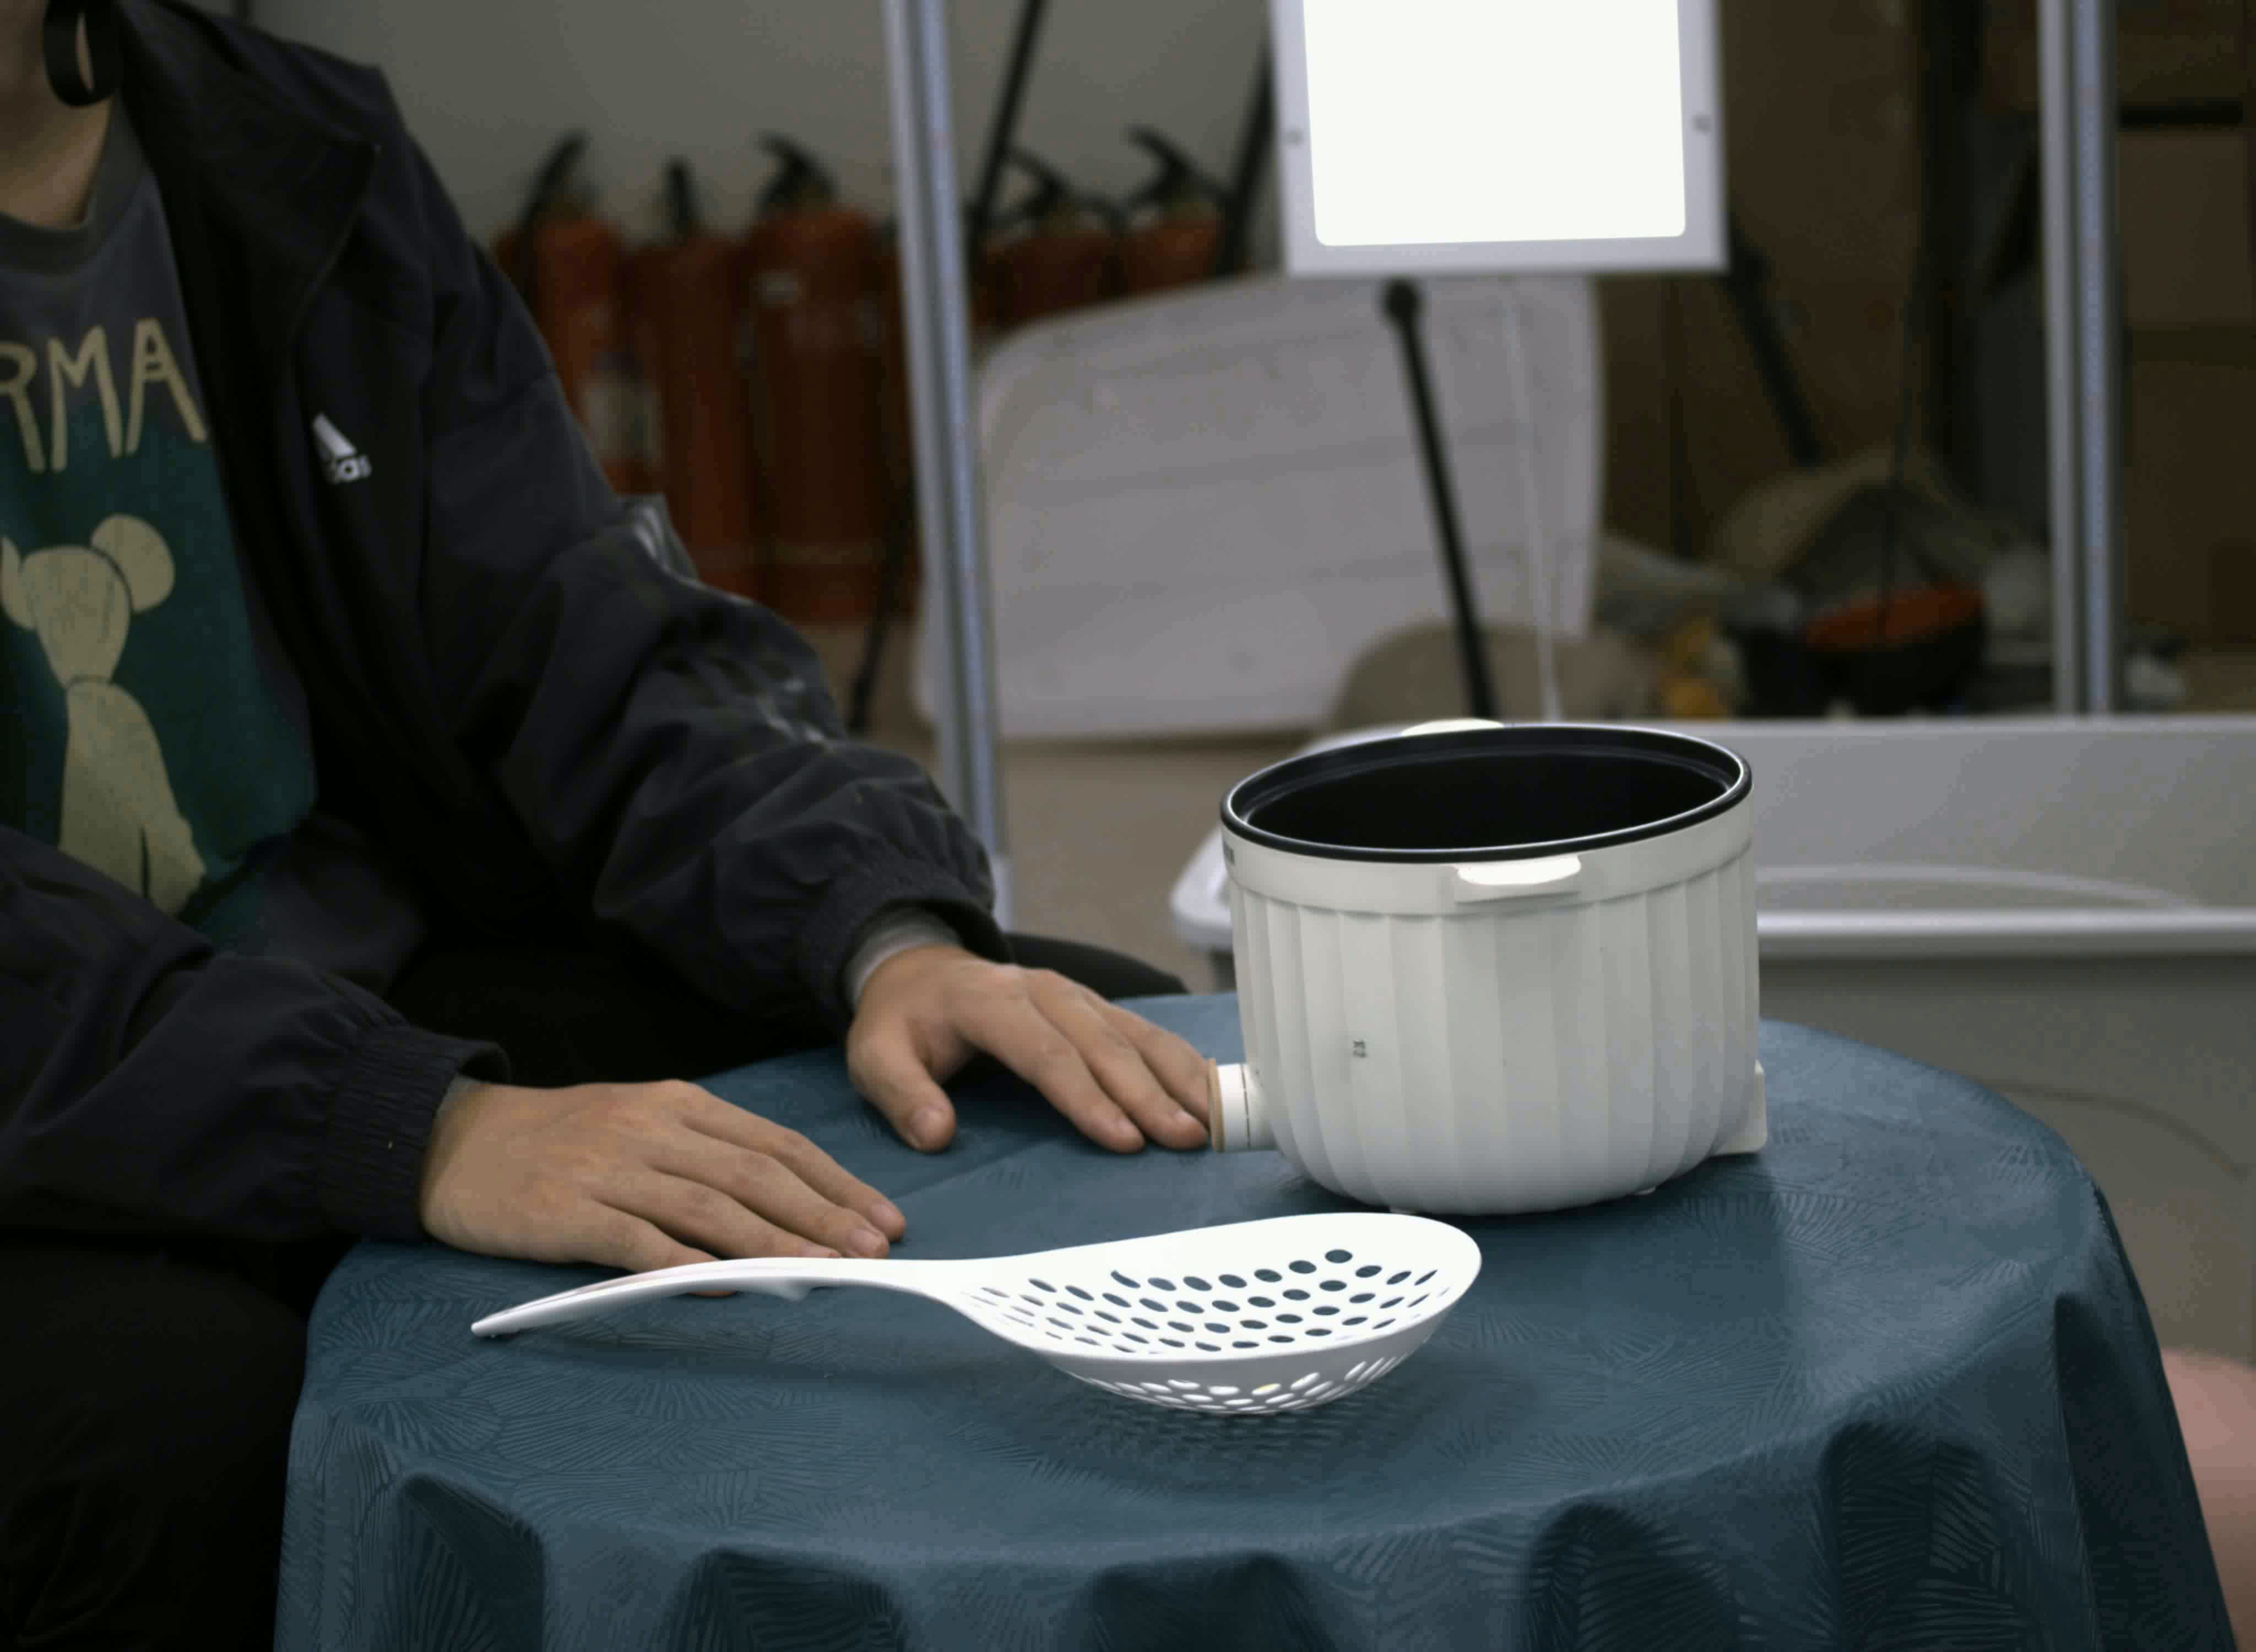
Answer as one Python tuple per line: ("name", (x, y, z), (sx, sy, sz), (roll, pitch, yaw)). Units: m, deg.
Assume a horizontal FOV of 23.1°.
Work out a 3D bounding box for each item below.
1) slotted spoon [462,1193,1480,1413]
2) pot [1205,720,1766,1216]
("slotted spoon", (-0.057, 0.151, 1.726), (0.354, 0.050, 0.134), (2, 17, 27))
("pot", (0.121, 0.051, 1.870), (0.190, 0.143, 0.240), (-2, 12, -2))
